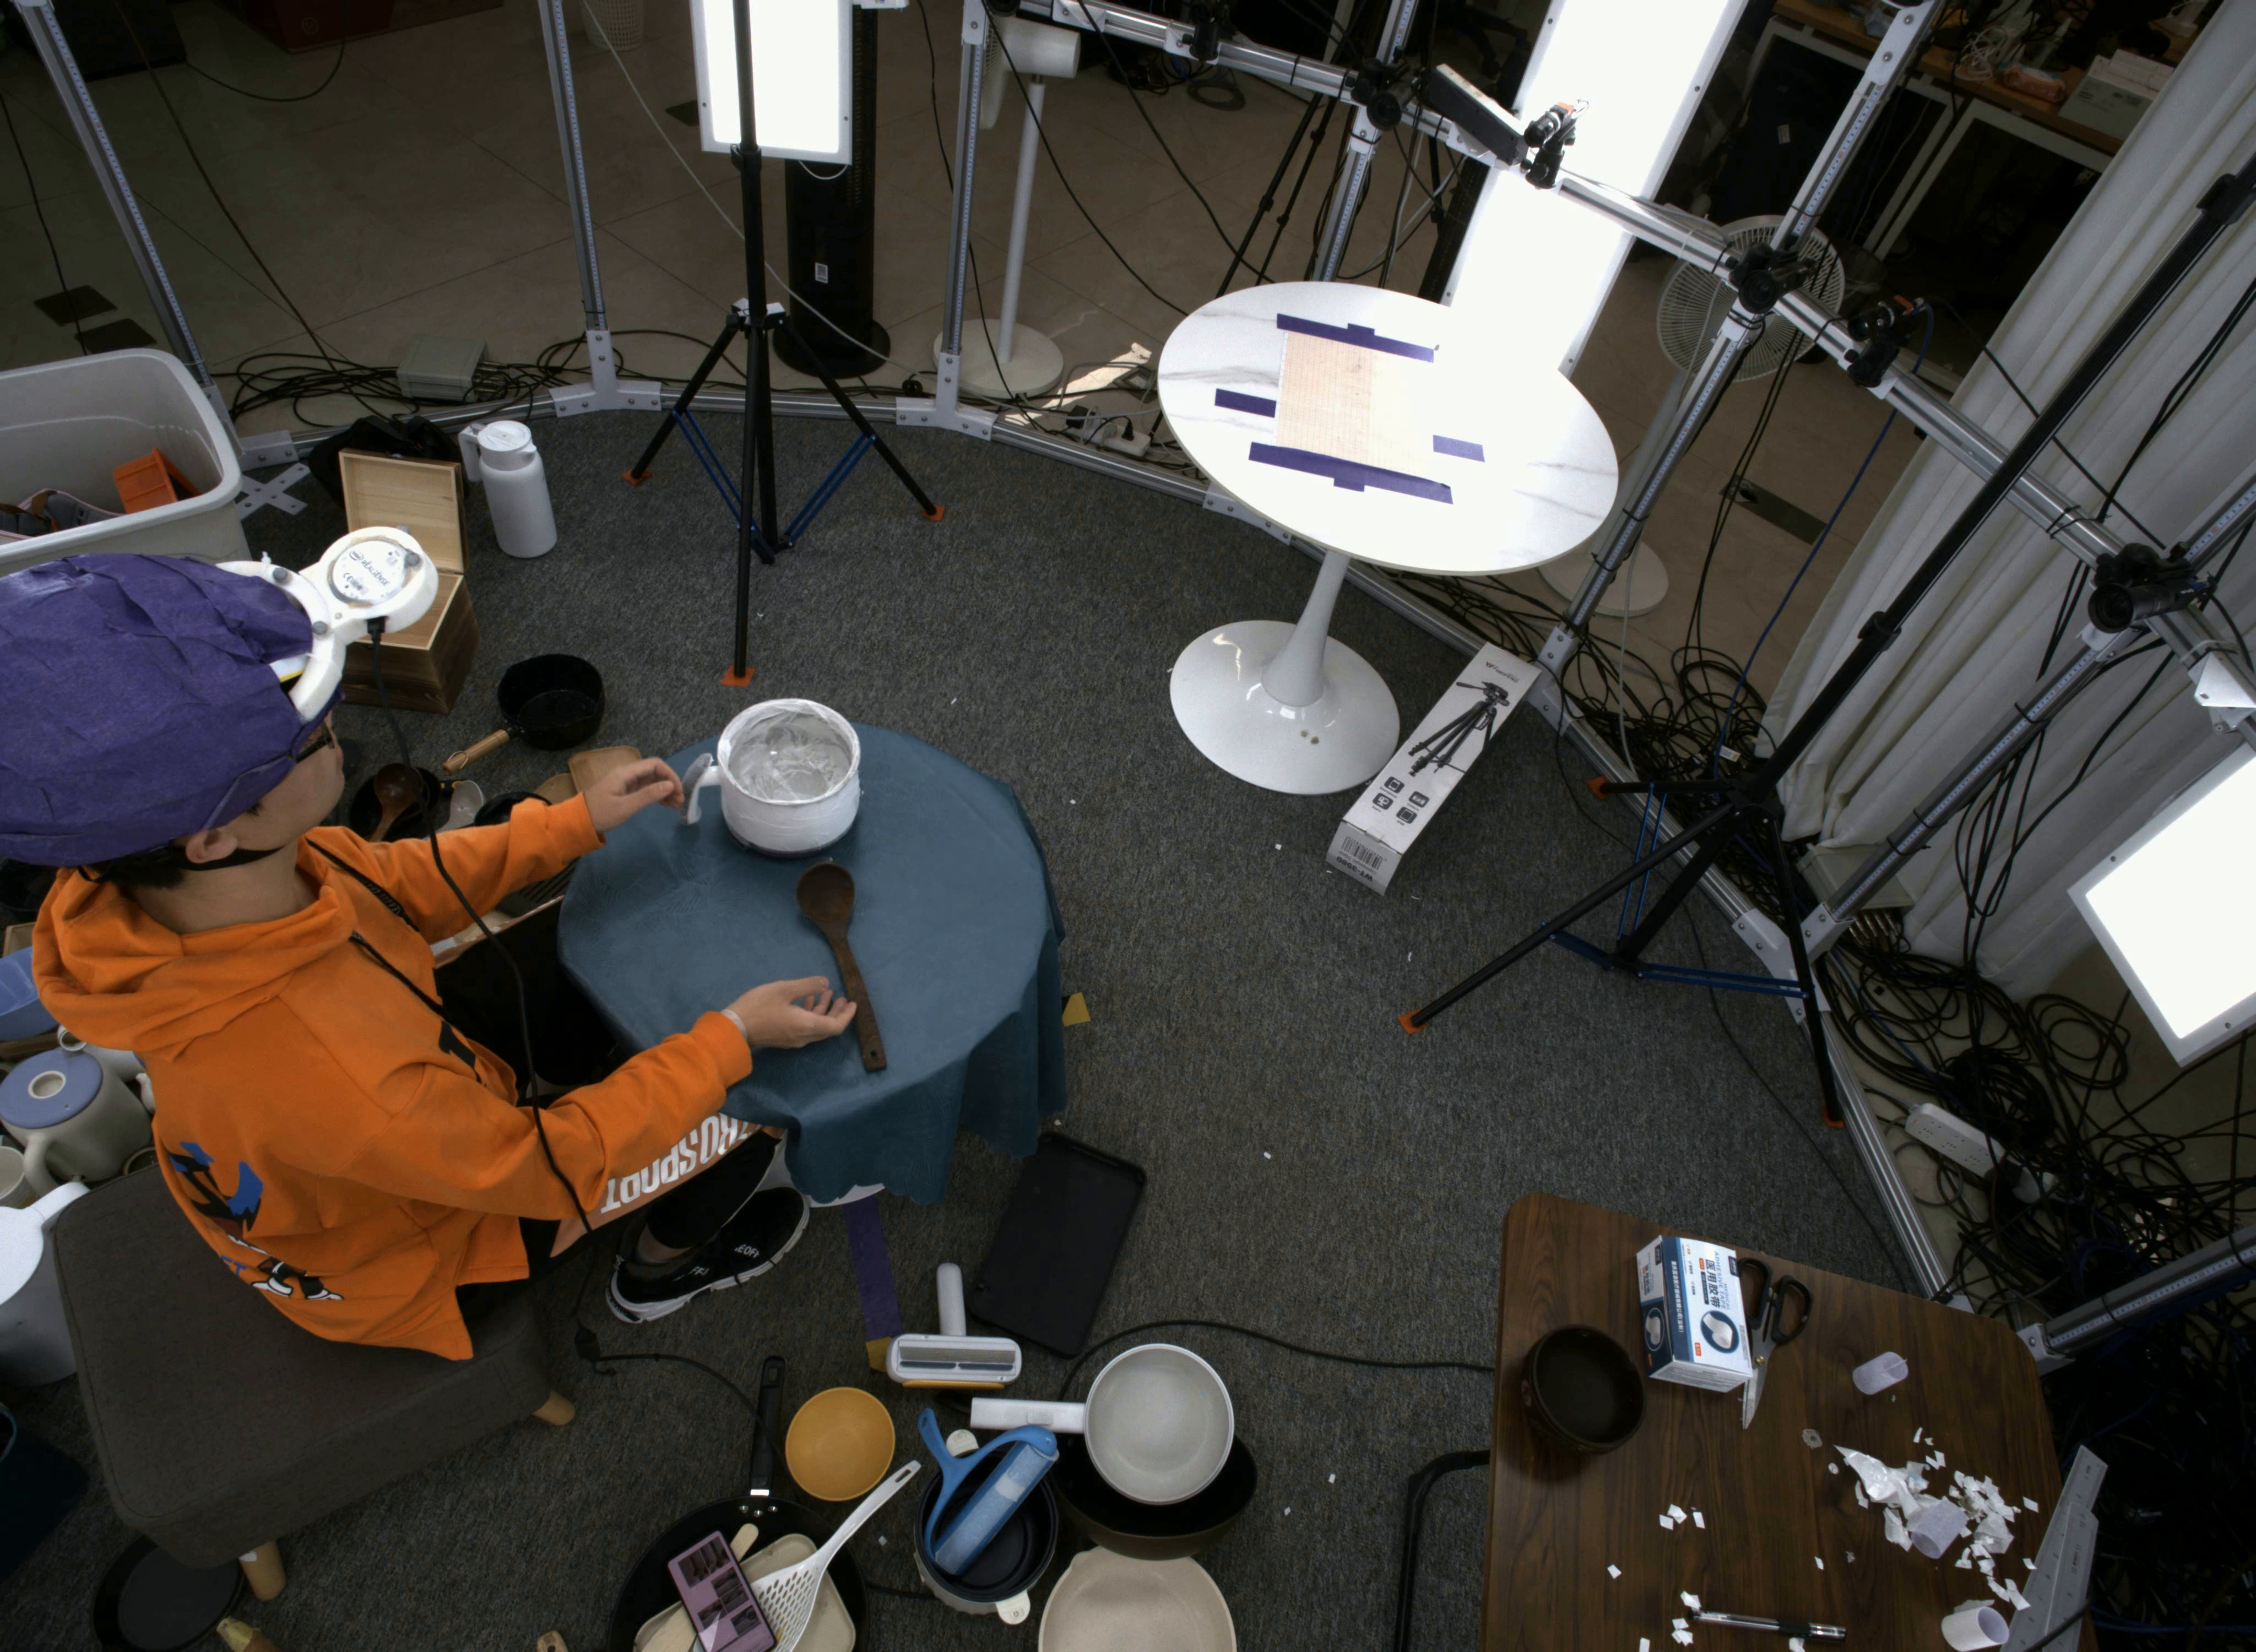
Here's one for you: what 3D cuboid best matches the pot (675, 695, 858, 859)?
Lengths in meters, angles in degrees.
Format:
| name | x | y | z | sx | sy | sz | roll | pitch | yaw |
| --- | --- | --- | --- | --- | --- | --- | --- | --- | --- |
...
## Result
| name | x | y | z | sx | sy | sz | roll | pitch | yaw |
| --- | --- | --- | --- | --- | --- | --- | --- | --- | --- |
| pot | -0.463 | -0.055 | 1.656 | 0.235 | 0.139 | 0.174 | -8 | 55 | -20 |

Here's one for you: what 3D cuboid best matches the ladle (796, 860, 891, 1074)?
| name | x | y | z | sx | sy | sz | roll | pitch | yaw |
| --- | --- | --- | --- | --- | --- | --- | --- | --- | --- |
| ladle | -0.337 | 0.162 | 1.570 | 0.076 | 0.073 | 0.267 | -14 | 58 | -19 |
